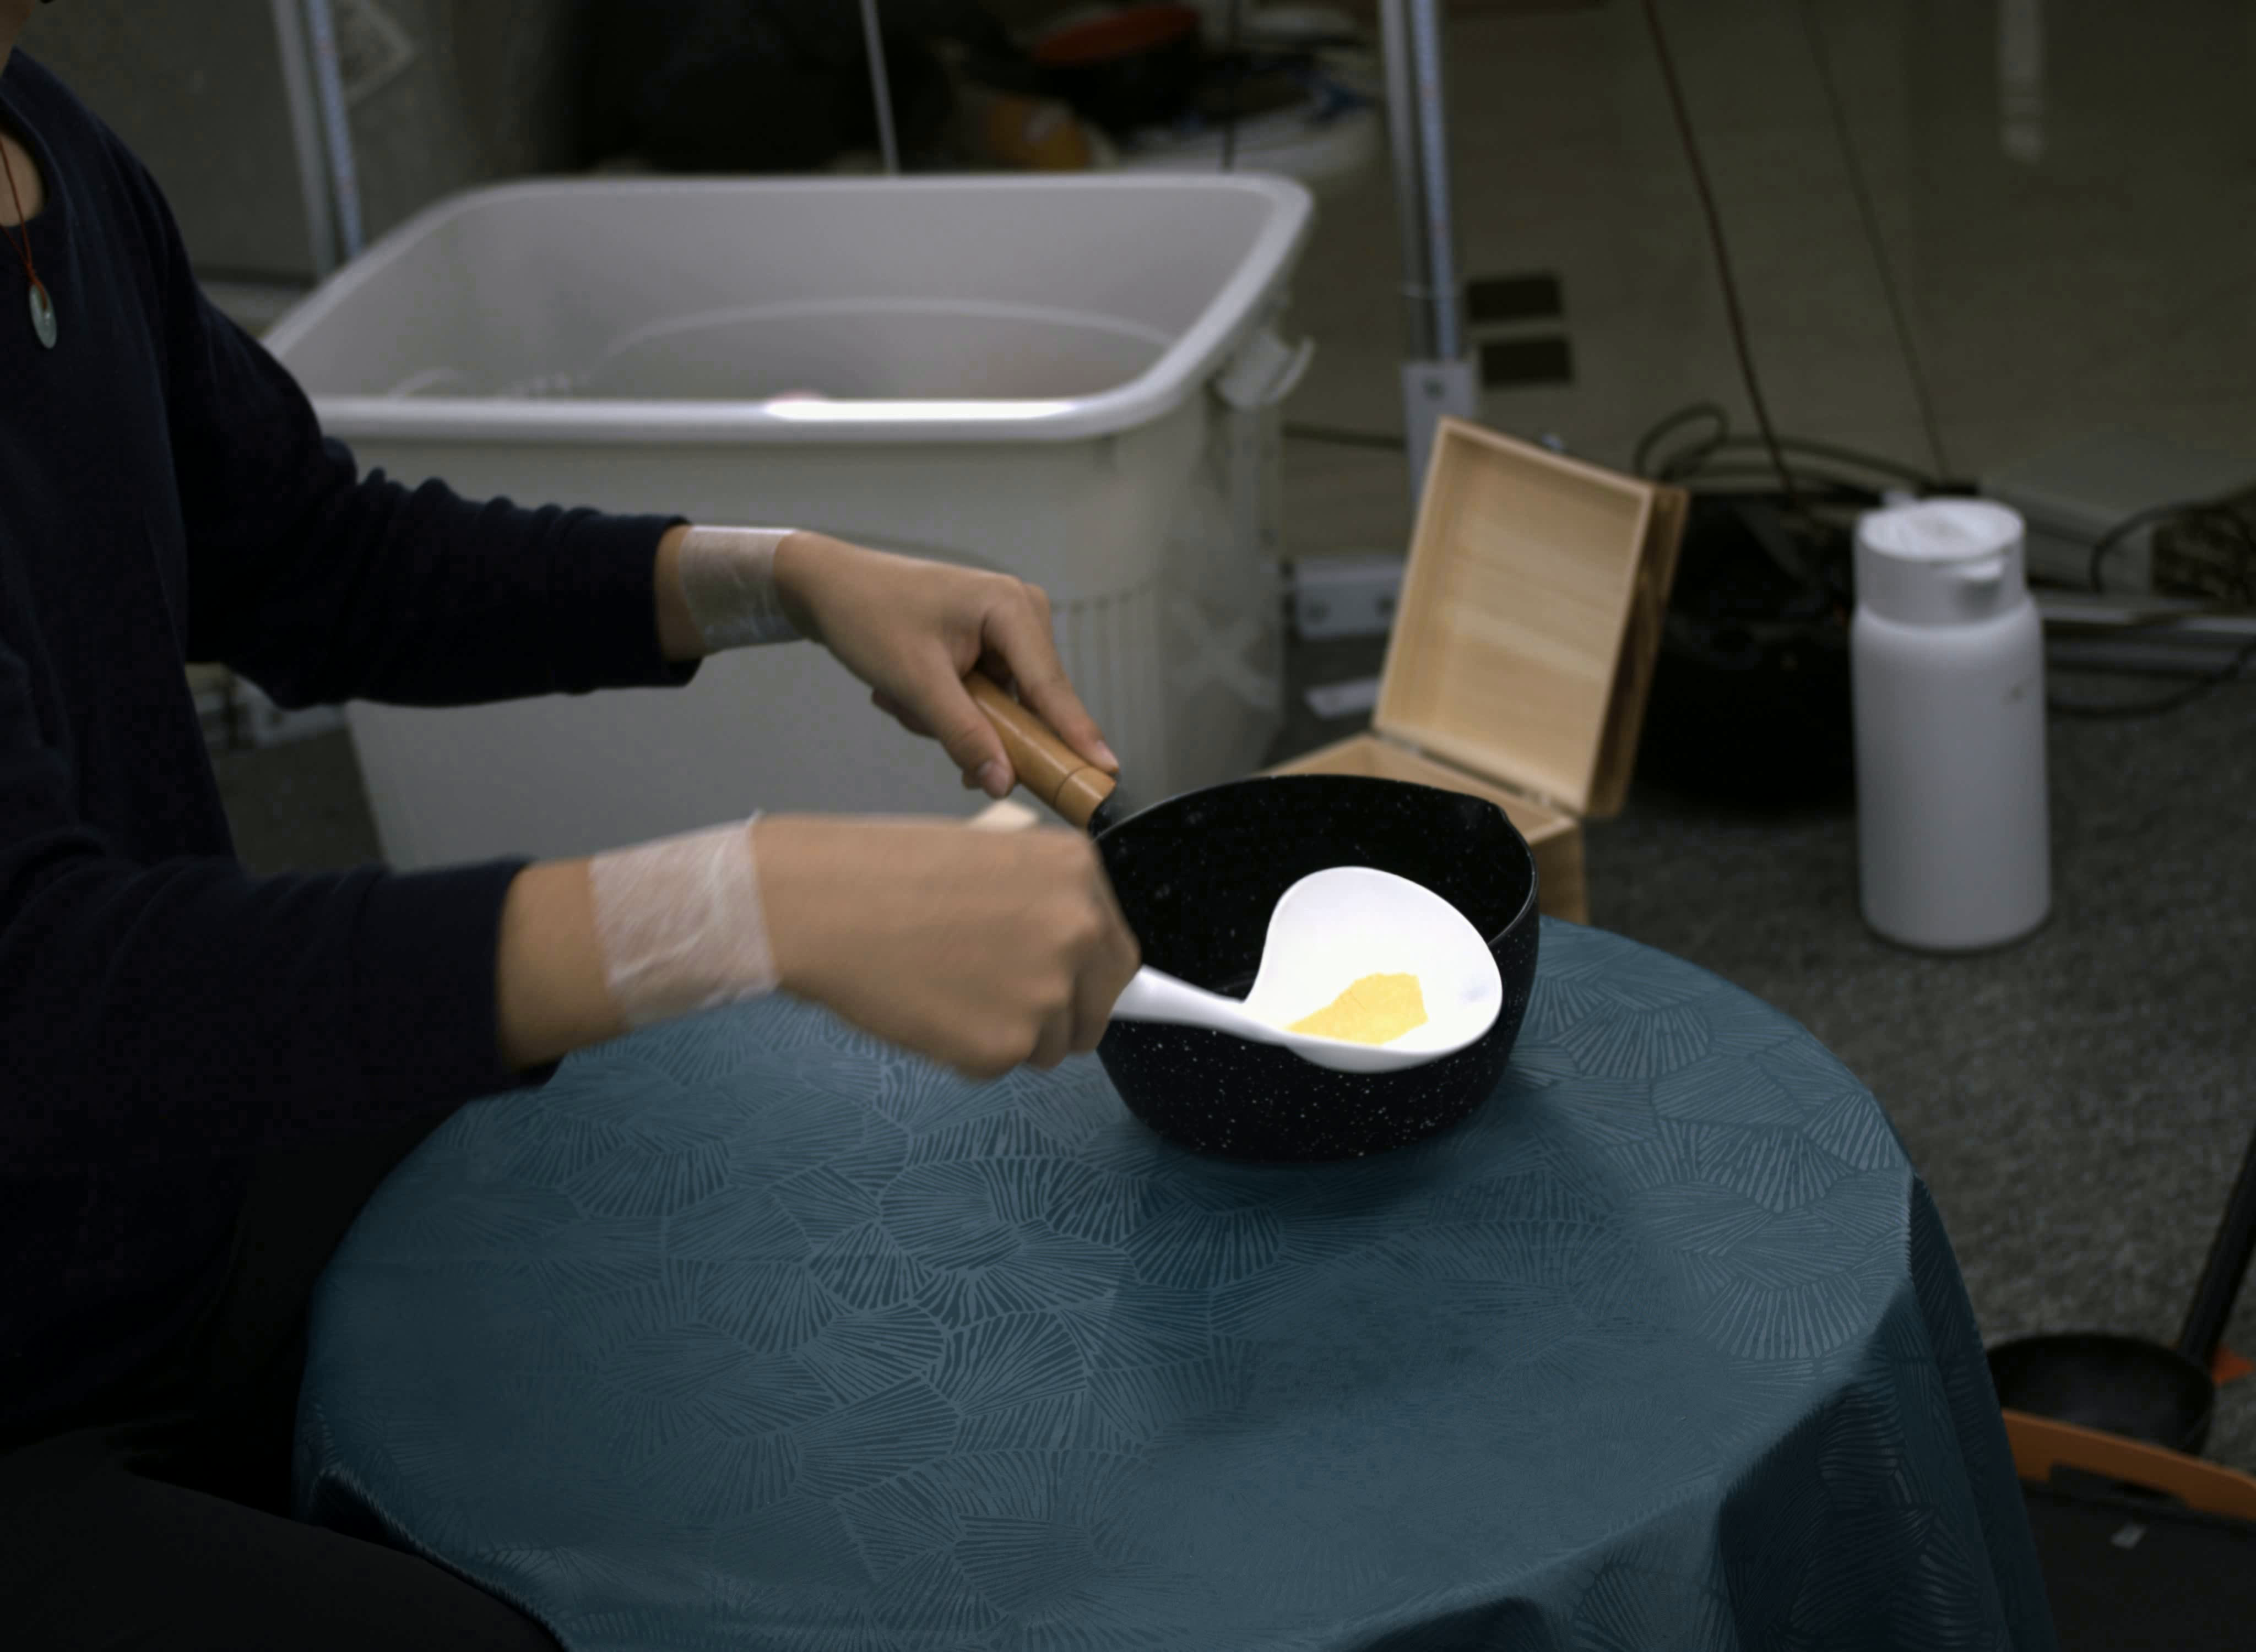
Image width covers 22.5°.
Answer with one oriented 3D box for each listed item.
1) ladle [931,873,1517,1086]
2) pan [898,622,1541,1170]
[{"bbox_3d":[0.035,0.046,1.905,0.089,0.070,0.294,54,20,24],"label":"ladle"},{"bbox_3d":[0.018,0.022,2.242,0.206,0.110,0.339,-25,36,-32],"label":"pan"}]
